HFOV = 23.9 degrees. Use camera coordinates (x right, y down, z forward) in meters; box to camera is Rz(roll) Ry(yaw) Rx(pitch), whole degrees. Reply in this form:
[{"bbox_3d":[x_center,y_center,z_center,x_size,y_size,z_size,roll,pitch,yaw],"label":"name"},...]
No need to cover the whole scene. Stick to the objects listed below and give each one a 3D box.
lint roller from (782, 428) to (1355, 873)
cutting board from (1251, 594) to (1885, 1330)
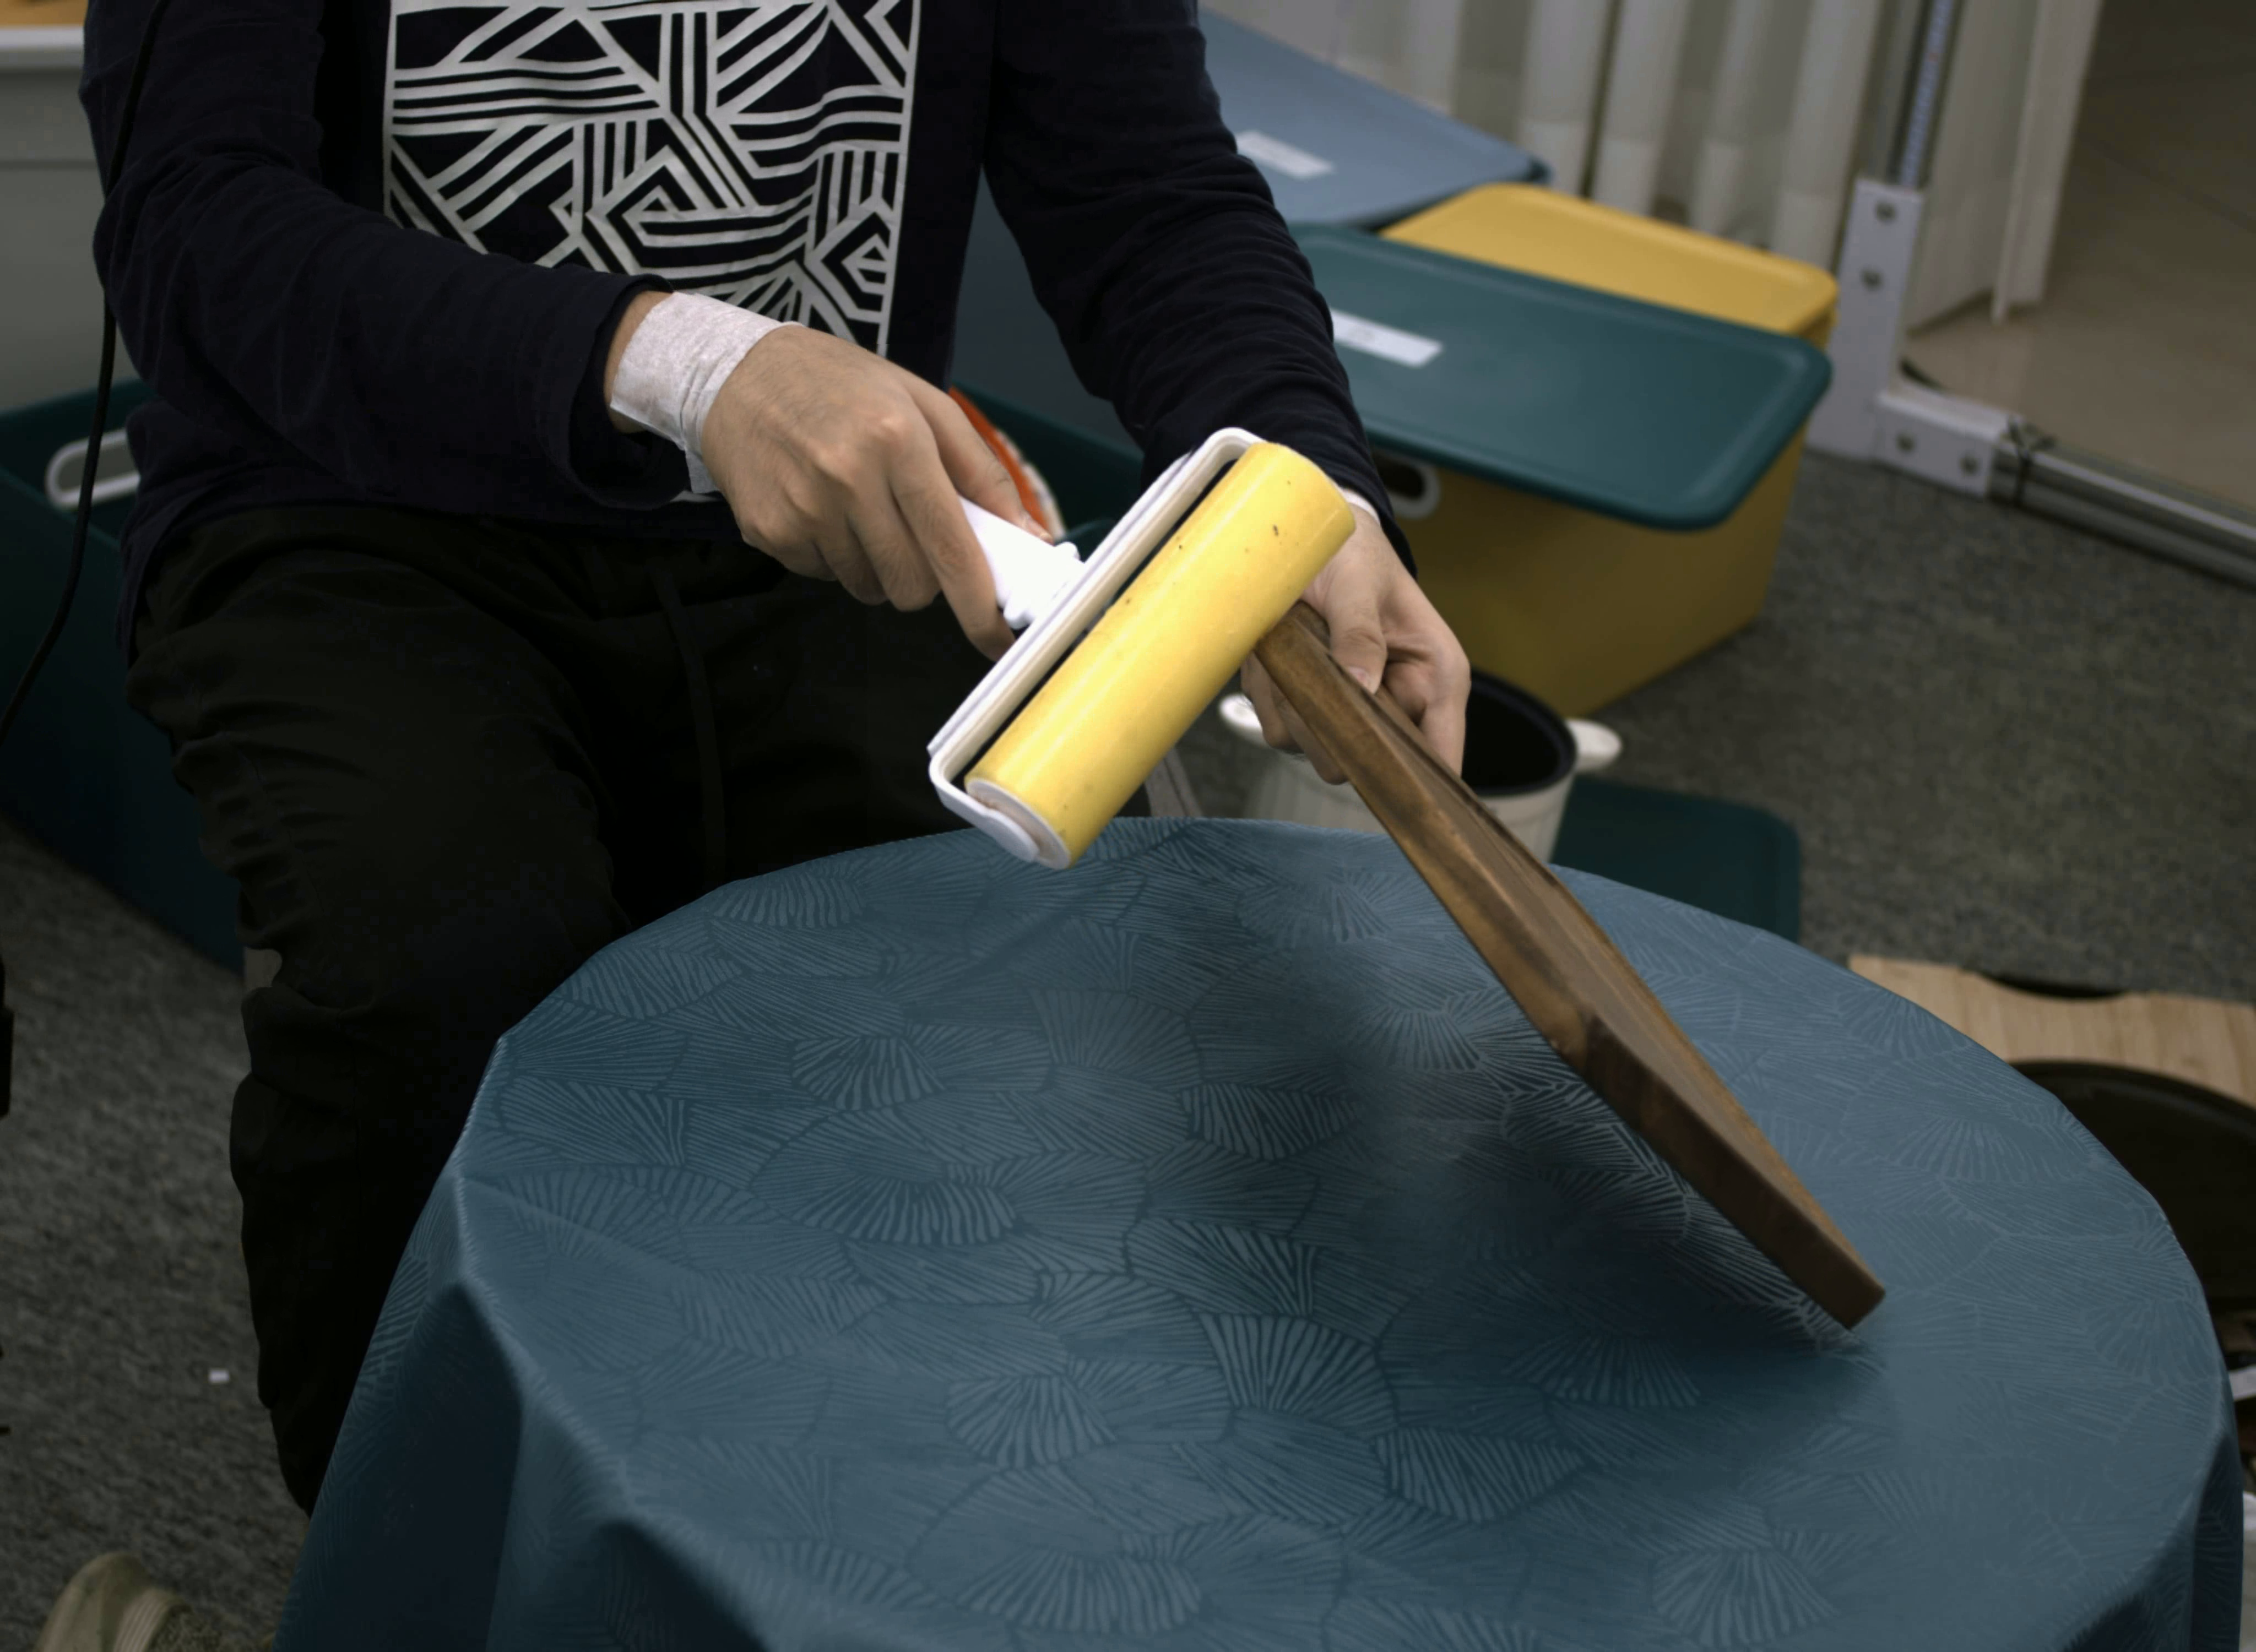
[{"bbox_3d":[-0.045,-0.093,1.850,0.193,0.051,0.174,32,70,20],"label":"lint roller"},{"bbox_3d":[0.128,0.020,1.829,0.199,0.023,0.355,43,8,-40],"label":"cutting board"}]
